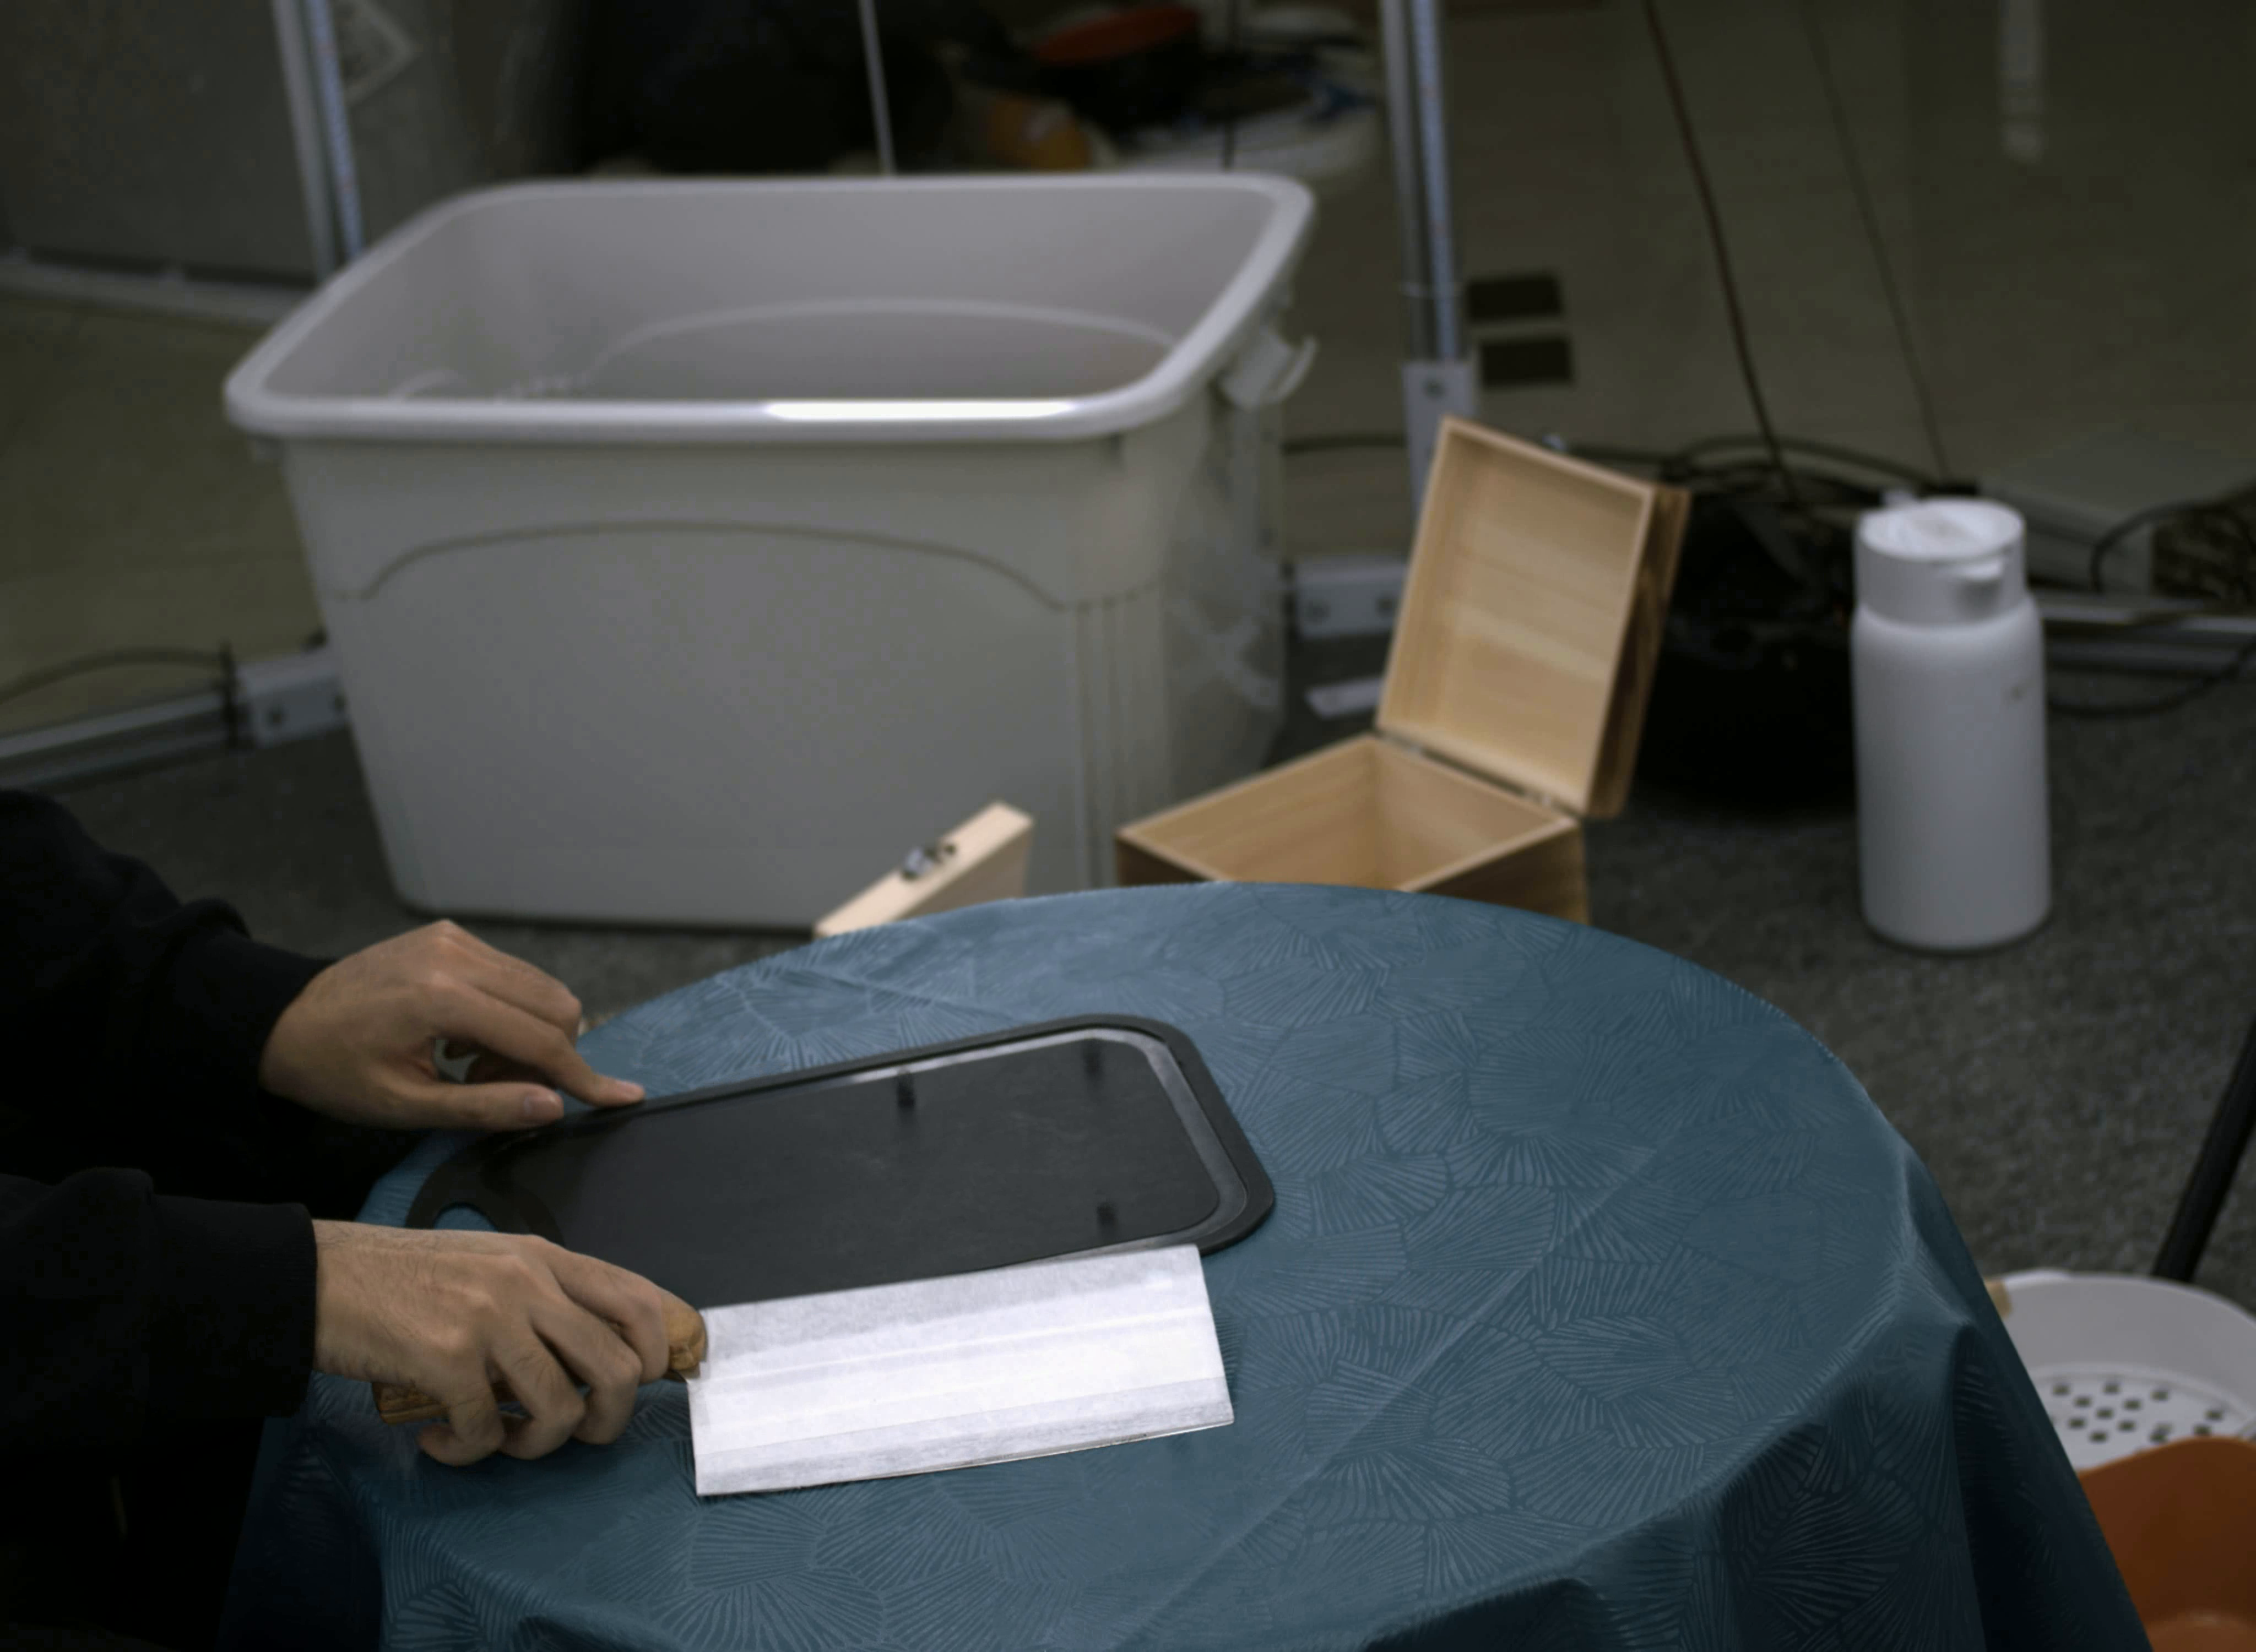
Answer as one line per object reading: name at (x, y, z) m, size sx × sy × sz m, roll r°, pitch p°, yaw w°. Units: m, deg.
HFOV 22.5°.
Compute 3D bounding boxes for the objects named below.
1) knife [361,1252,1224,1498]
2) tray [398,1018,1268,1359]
knife at (-0.119, 0.200, 2.013) m, size 0.305 × 0.021 × 0.091 m, roll -7°, pitch 40°, yaw -4°
tray at (-0.117, 0.139, 2.167) m, size 0.324 × 0.010 × 0.208 m, roll -10°, pitch 25°, yaw -8°
